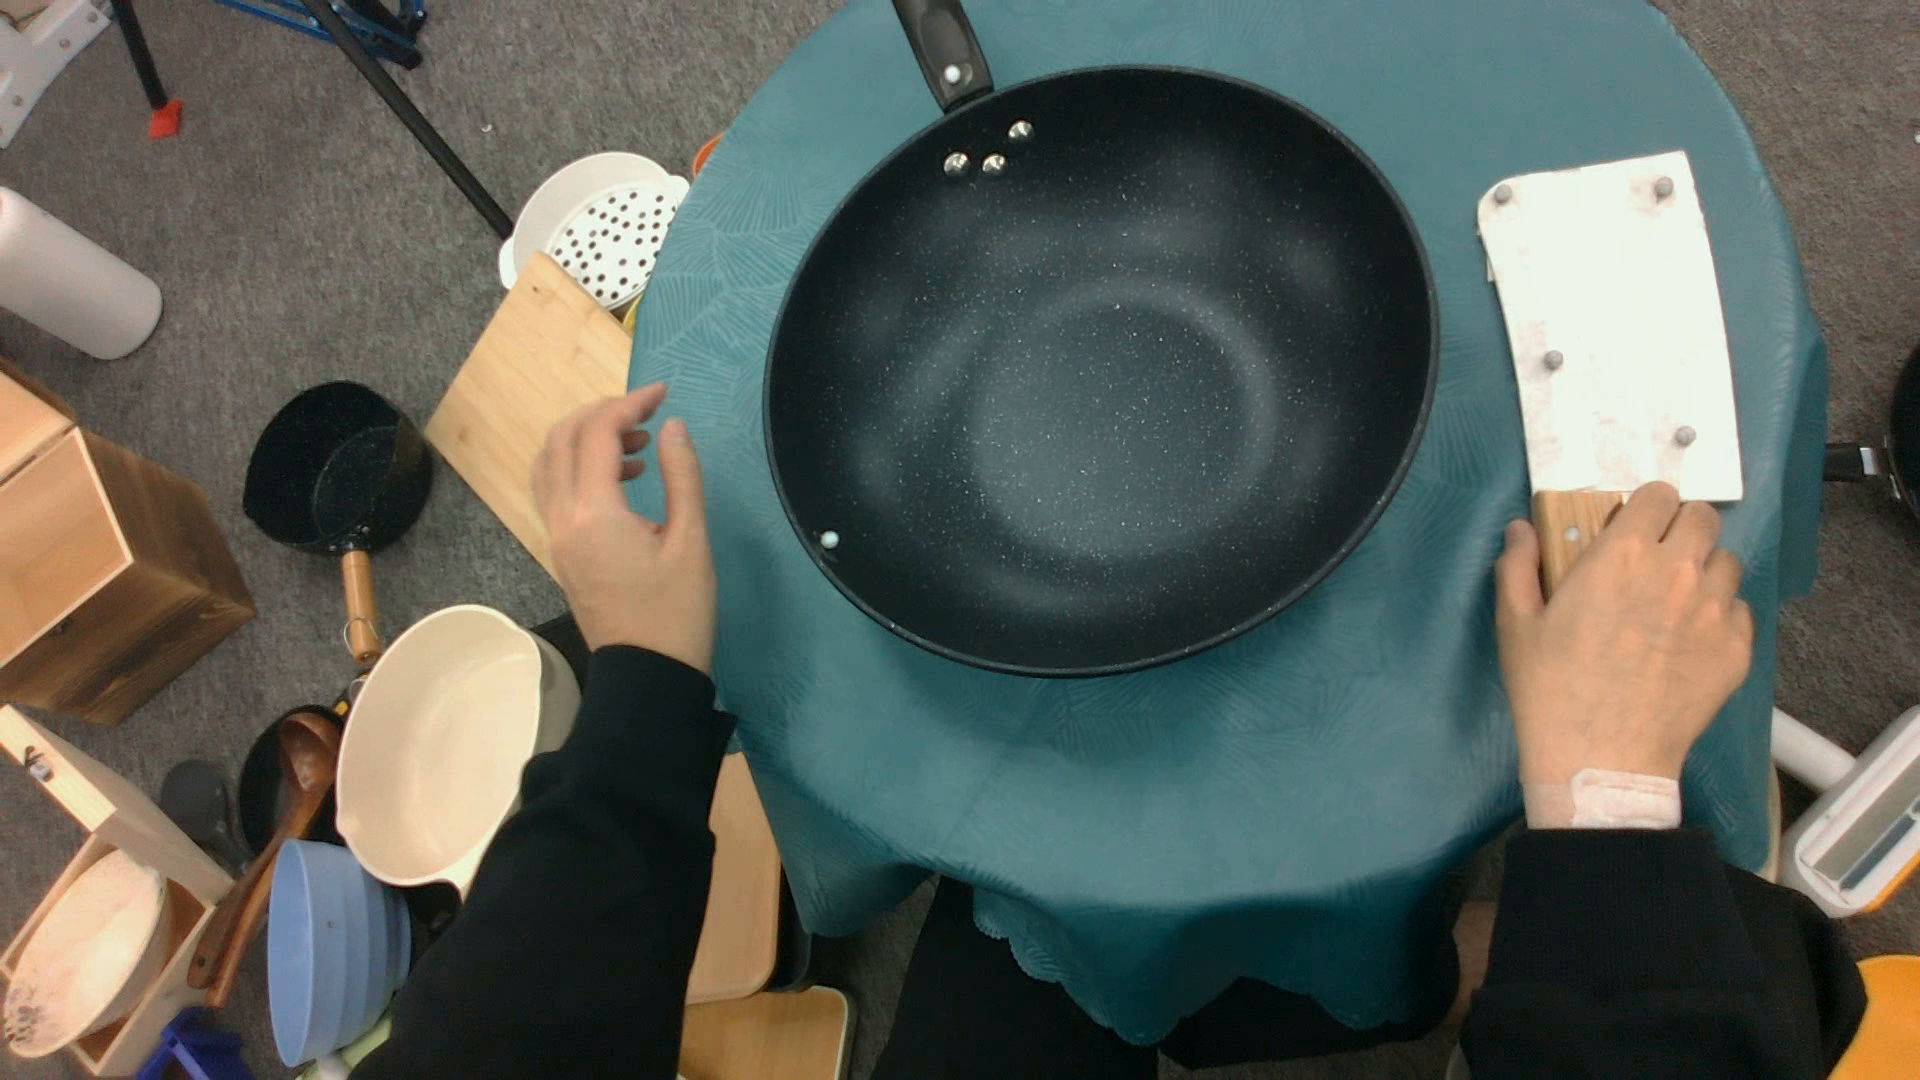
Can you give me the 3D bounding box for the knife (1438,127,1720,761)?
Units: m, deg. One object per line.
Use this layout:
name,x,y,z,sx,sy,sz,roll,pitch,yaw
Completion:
knife,0.282,-0.055,0.628,0.114,0.021,0.316,0,68,15

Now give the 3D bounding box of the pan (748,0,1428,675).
pan,0.027,-0.151,0.683,0.310,0.111,0.478,-24,66,4
